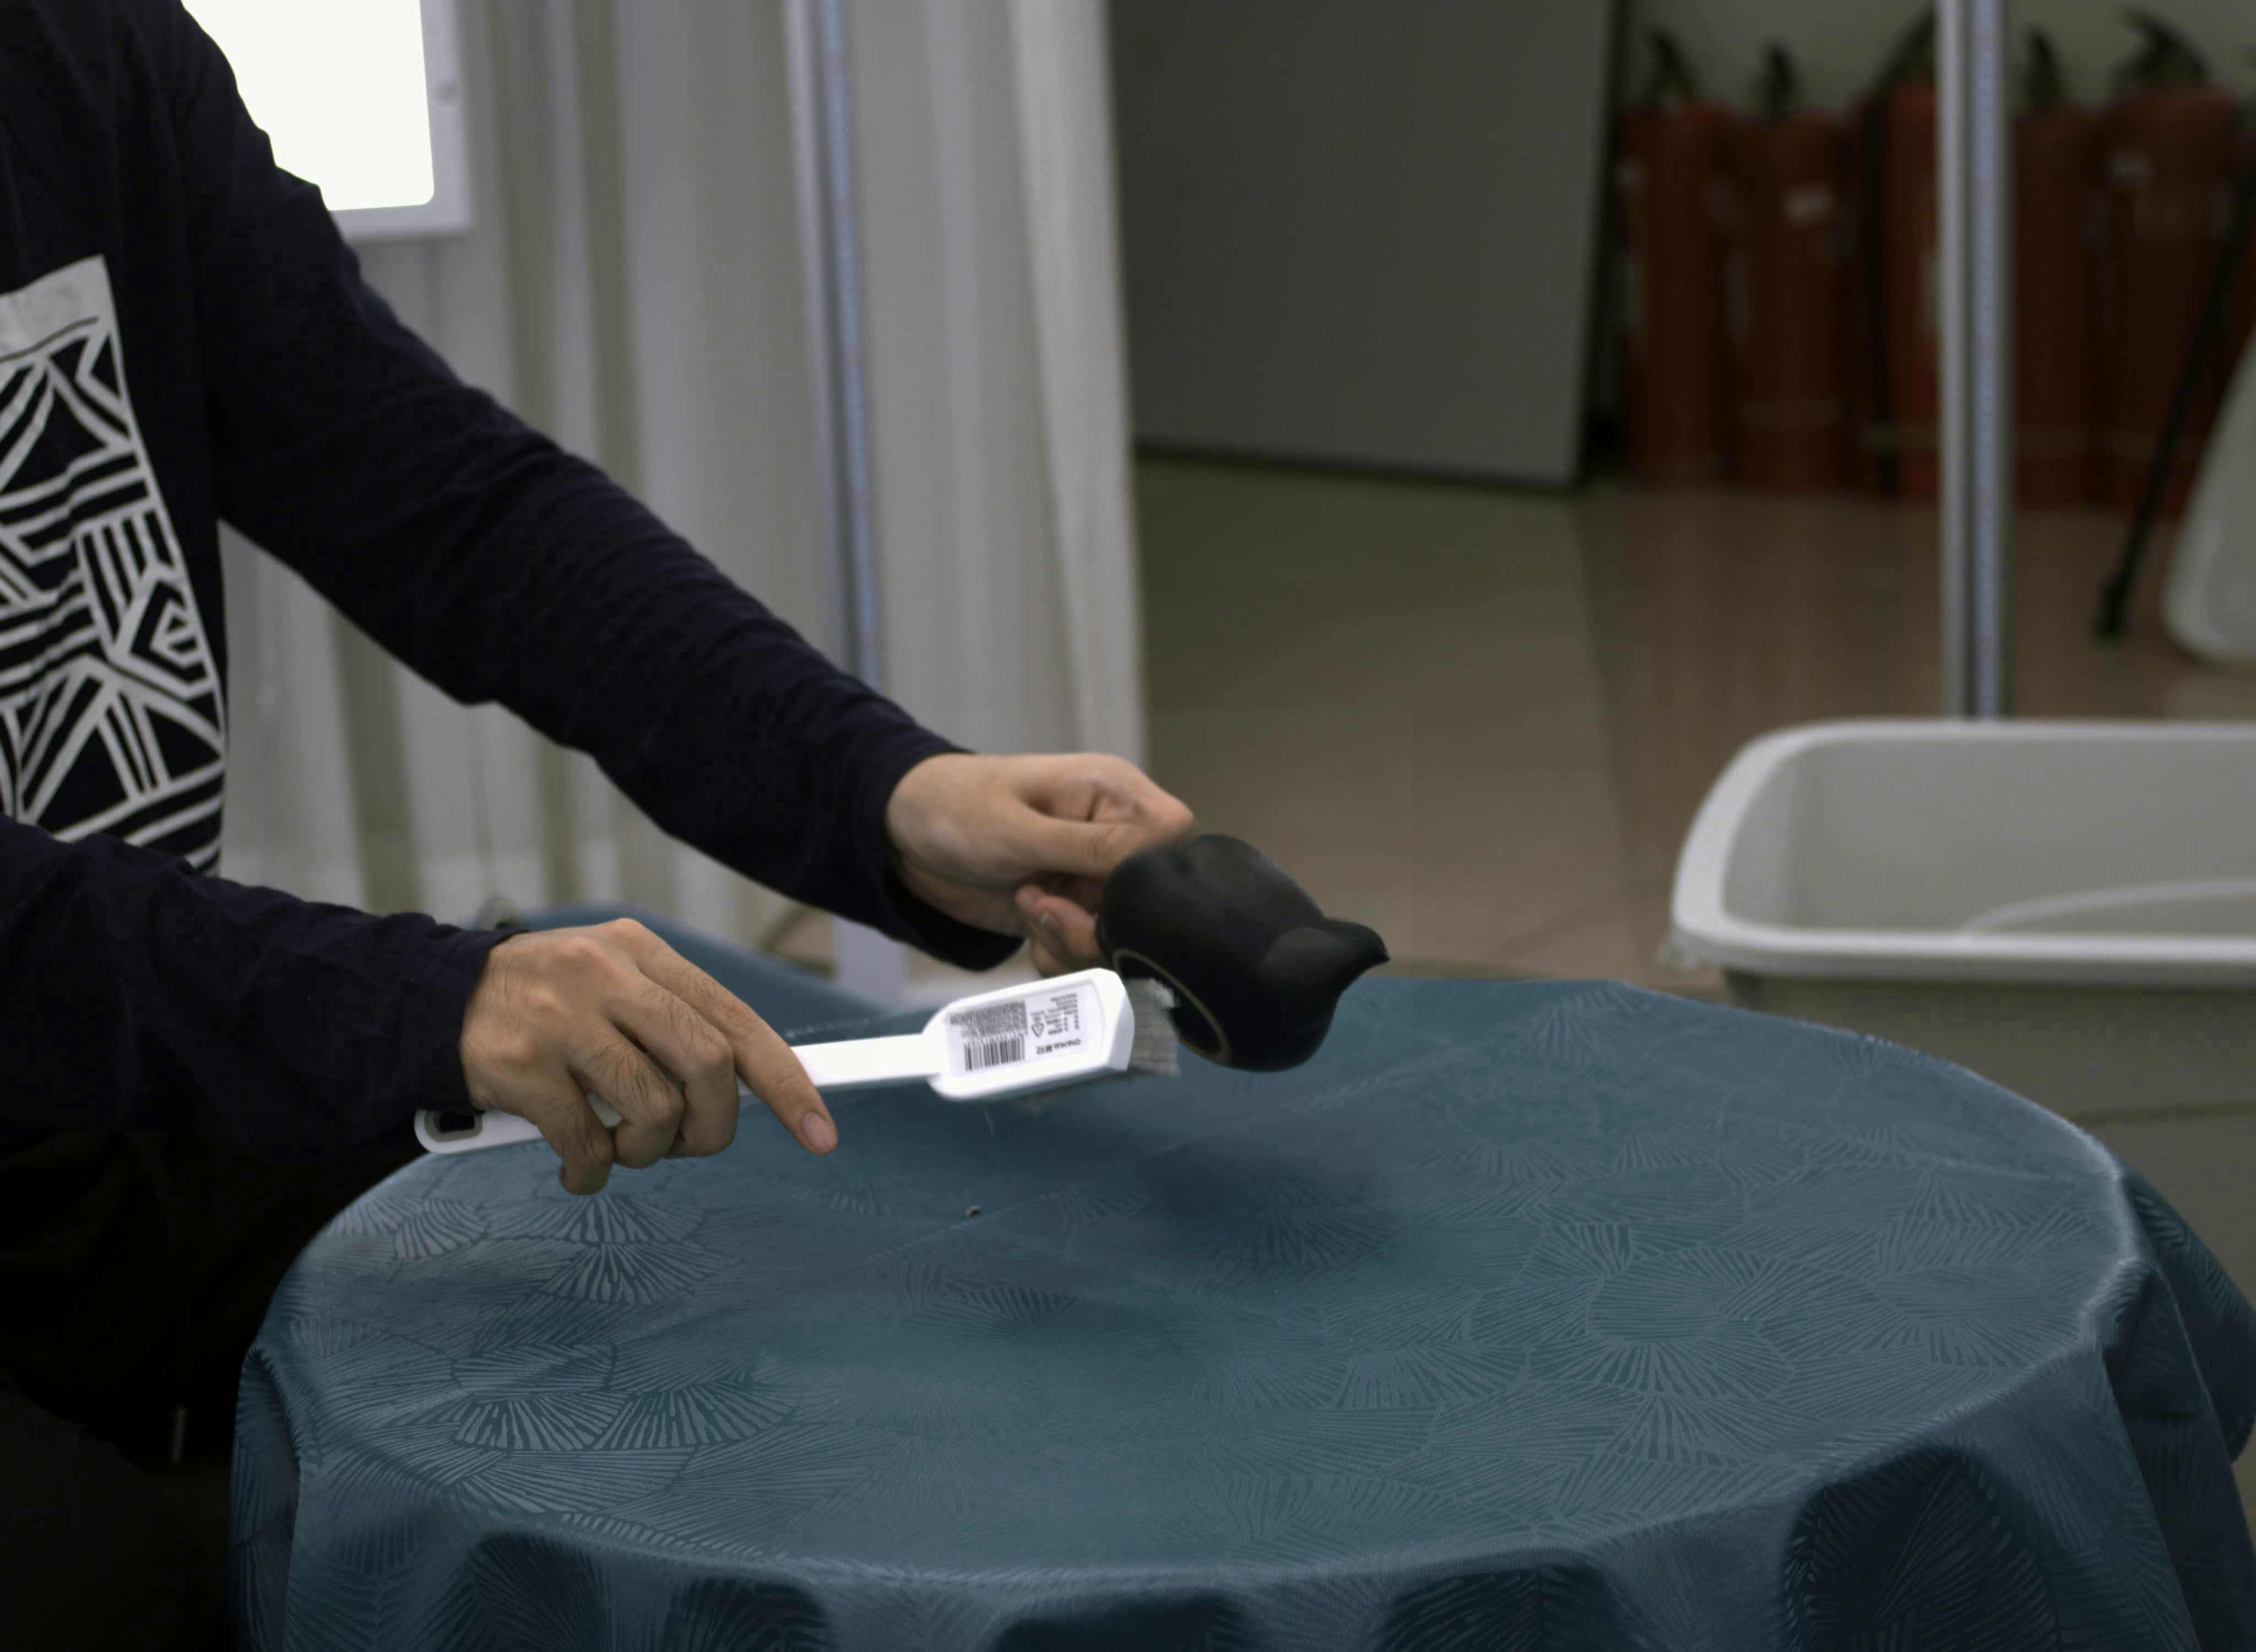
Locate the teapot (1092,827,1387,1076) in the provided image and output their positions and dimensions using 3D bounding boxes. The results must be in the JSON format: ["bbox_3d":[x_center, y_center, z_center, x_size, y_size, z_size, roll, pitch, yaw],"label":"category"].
[{"bbox_3d":[0.030,0.040,1.774,0.052,0.091,0.134,-40,31,-19],"label":"teapot"}]

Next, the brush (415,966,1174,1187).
[{"bbox_3d":[-0.104,0.085,1.699,0.242,0.035,0.050,-12,-19,11],"label":"brush"}]
